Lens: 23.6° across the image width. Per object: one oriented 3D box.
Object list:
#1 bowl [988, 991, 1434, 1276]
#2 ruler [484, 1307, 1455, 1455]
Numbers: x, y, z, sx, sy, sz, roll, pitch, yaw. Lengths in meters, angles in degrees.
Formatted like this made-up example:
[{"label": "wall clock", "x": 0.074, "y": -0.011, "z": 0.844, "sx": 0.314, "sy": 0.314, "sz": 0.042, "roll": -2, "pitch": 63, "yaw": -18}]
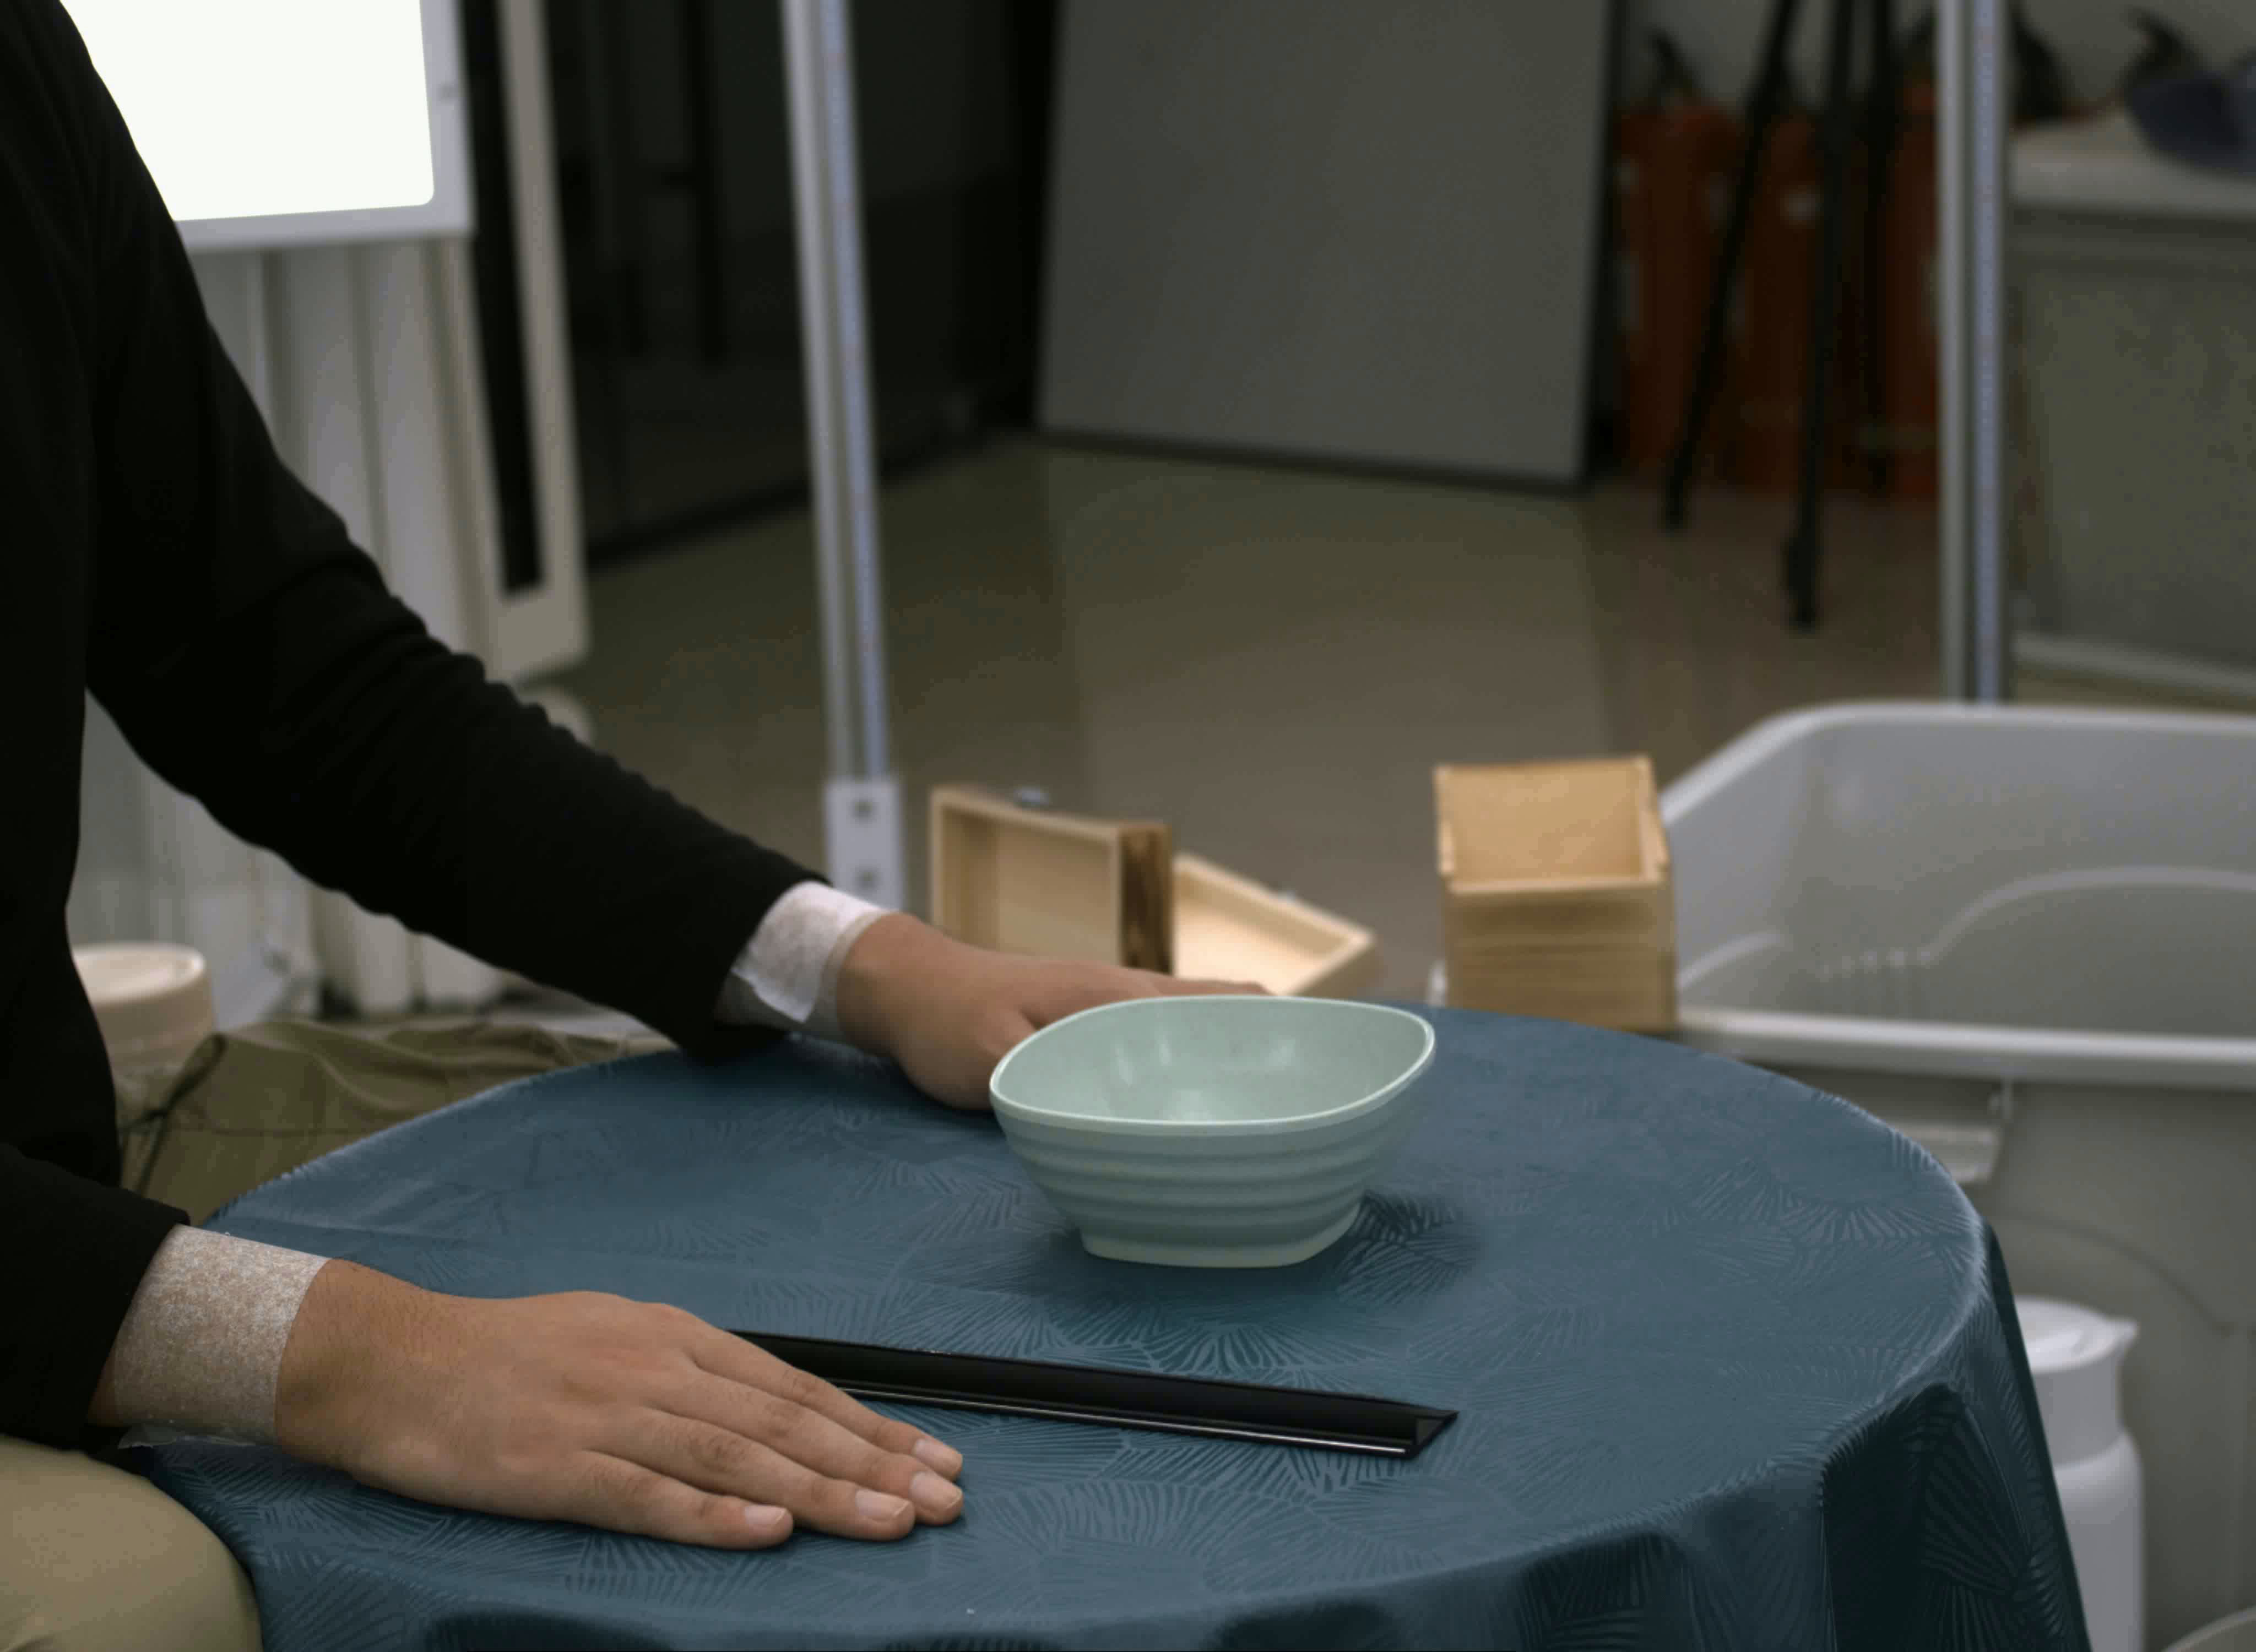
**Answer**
[{"label": "bowl", "x": 0.028, "y": 0.101, "z": 1.724, "sx": 0.149, "sy": 0.059, "sz": 0.152, "roll": -3, "pitch": 15, "yaw": 0}, {"label": "ruler", "x": -0.051, "y": 0.159, "z": 1.598, "sx": 0.313, "sy": 0.017, "sz": 0.039, "roll": 3, "pitch": 12, "yaw": 27}]
